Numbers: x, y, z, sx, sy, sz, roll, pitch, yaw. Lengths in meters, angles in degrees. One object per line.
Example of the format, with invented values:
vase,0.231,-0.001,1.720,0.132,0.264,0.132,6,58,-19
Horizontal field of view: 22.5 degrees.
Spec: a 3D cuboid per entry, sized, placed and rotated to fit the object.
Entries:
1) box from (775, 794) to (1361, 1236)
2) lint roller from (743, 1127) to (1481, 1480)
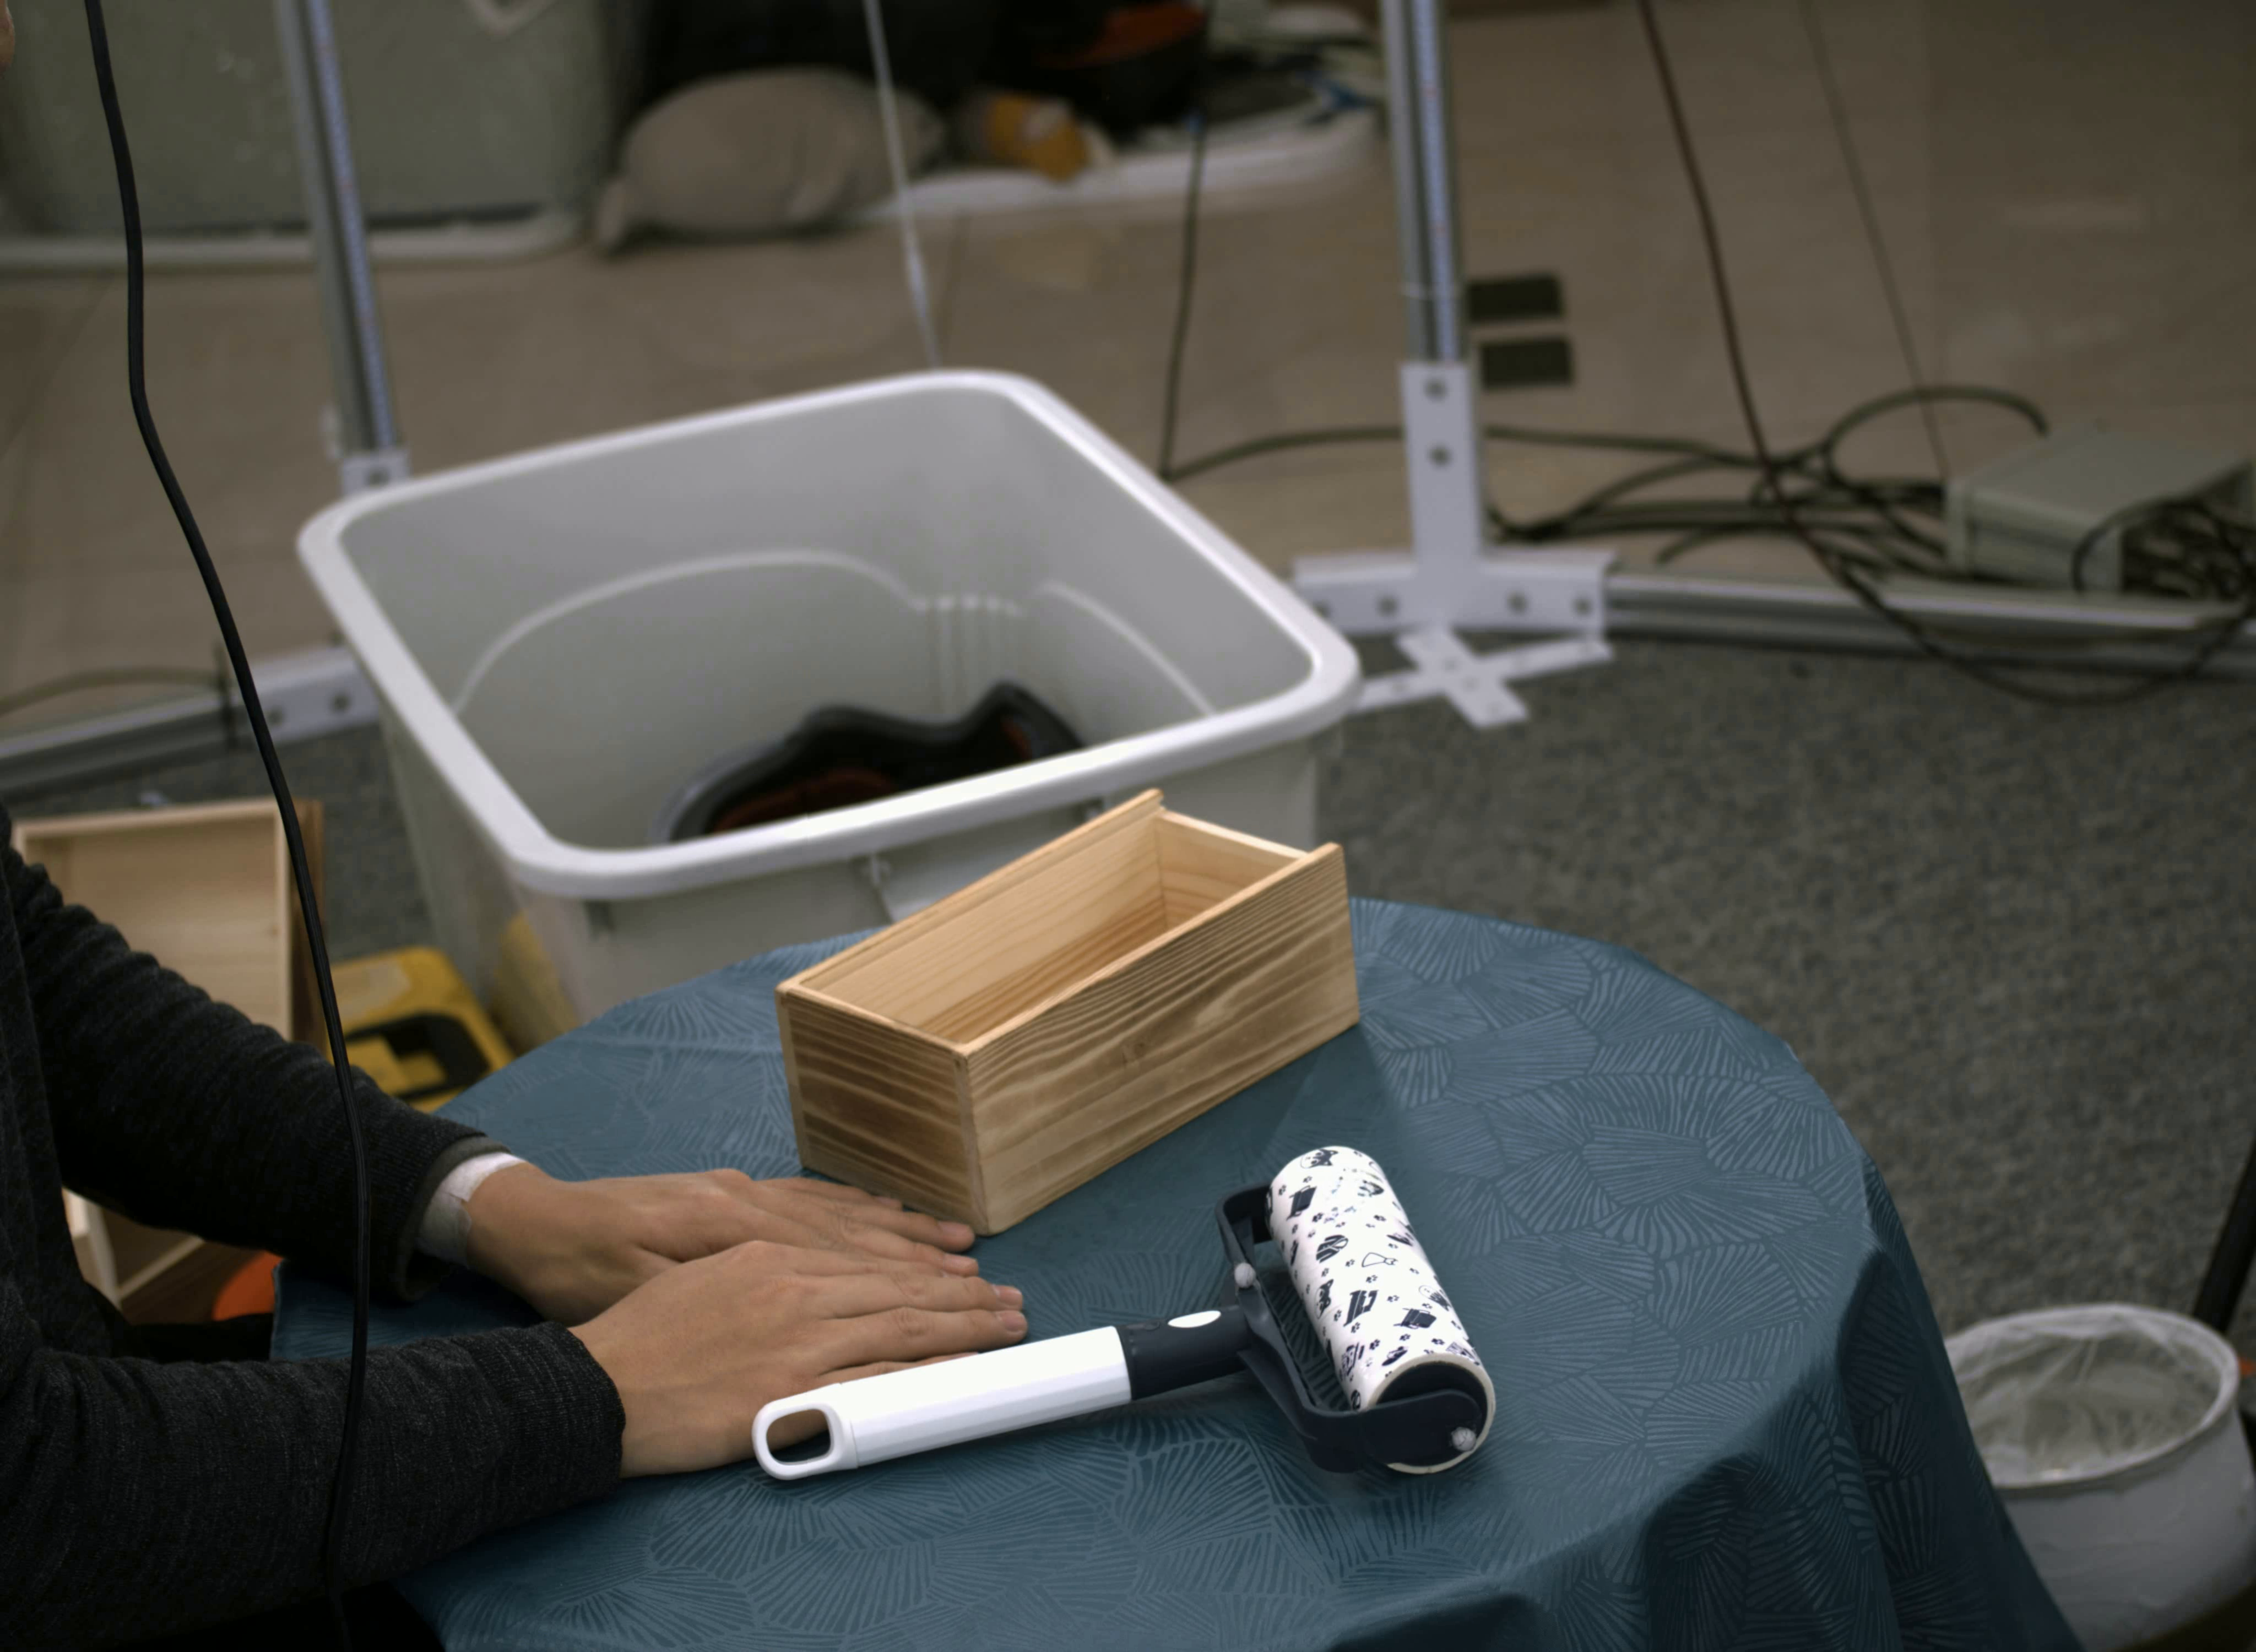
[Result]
box,-0.021,0.070,2.206,0.107,0.081,0.209,17,34,41
lint roller,-0.014,0.185,1.987,0.246,0.051,0.173,-11,30,-8
